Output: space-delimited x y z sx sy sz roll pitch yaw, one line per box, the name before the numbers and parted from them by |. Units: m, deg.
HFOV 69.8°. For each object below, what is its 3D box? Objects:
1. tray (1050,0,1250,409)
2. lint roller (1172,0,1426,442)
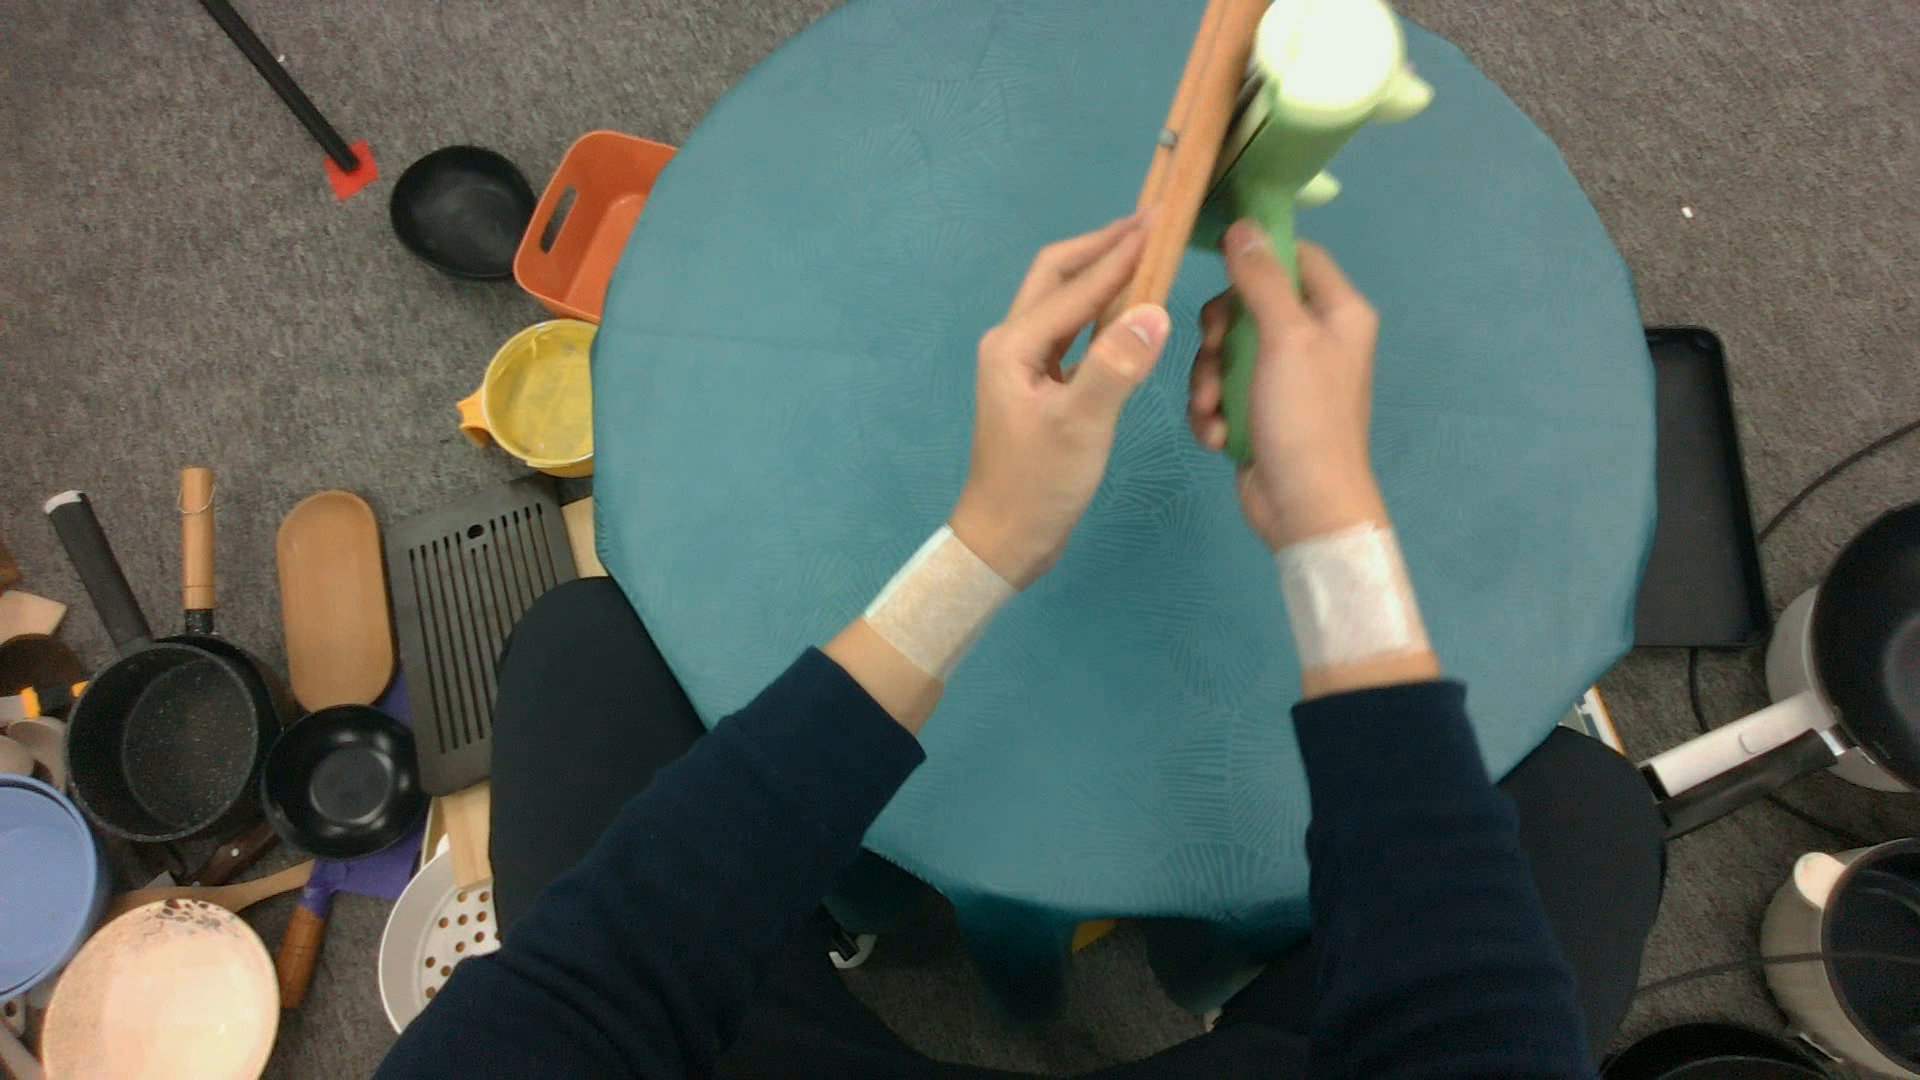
tray | 0.089 -0.175 0.585 0.023 0.130 0.250 18 92 -1
lint roller | 0.143 -0.137 0.590 0.082 0.198 0.183 -8 88 -4
